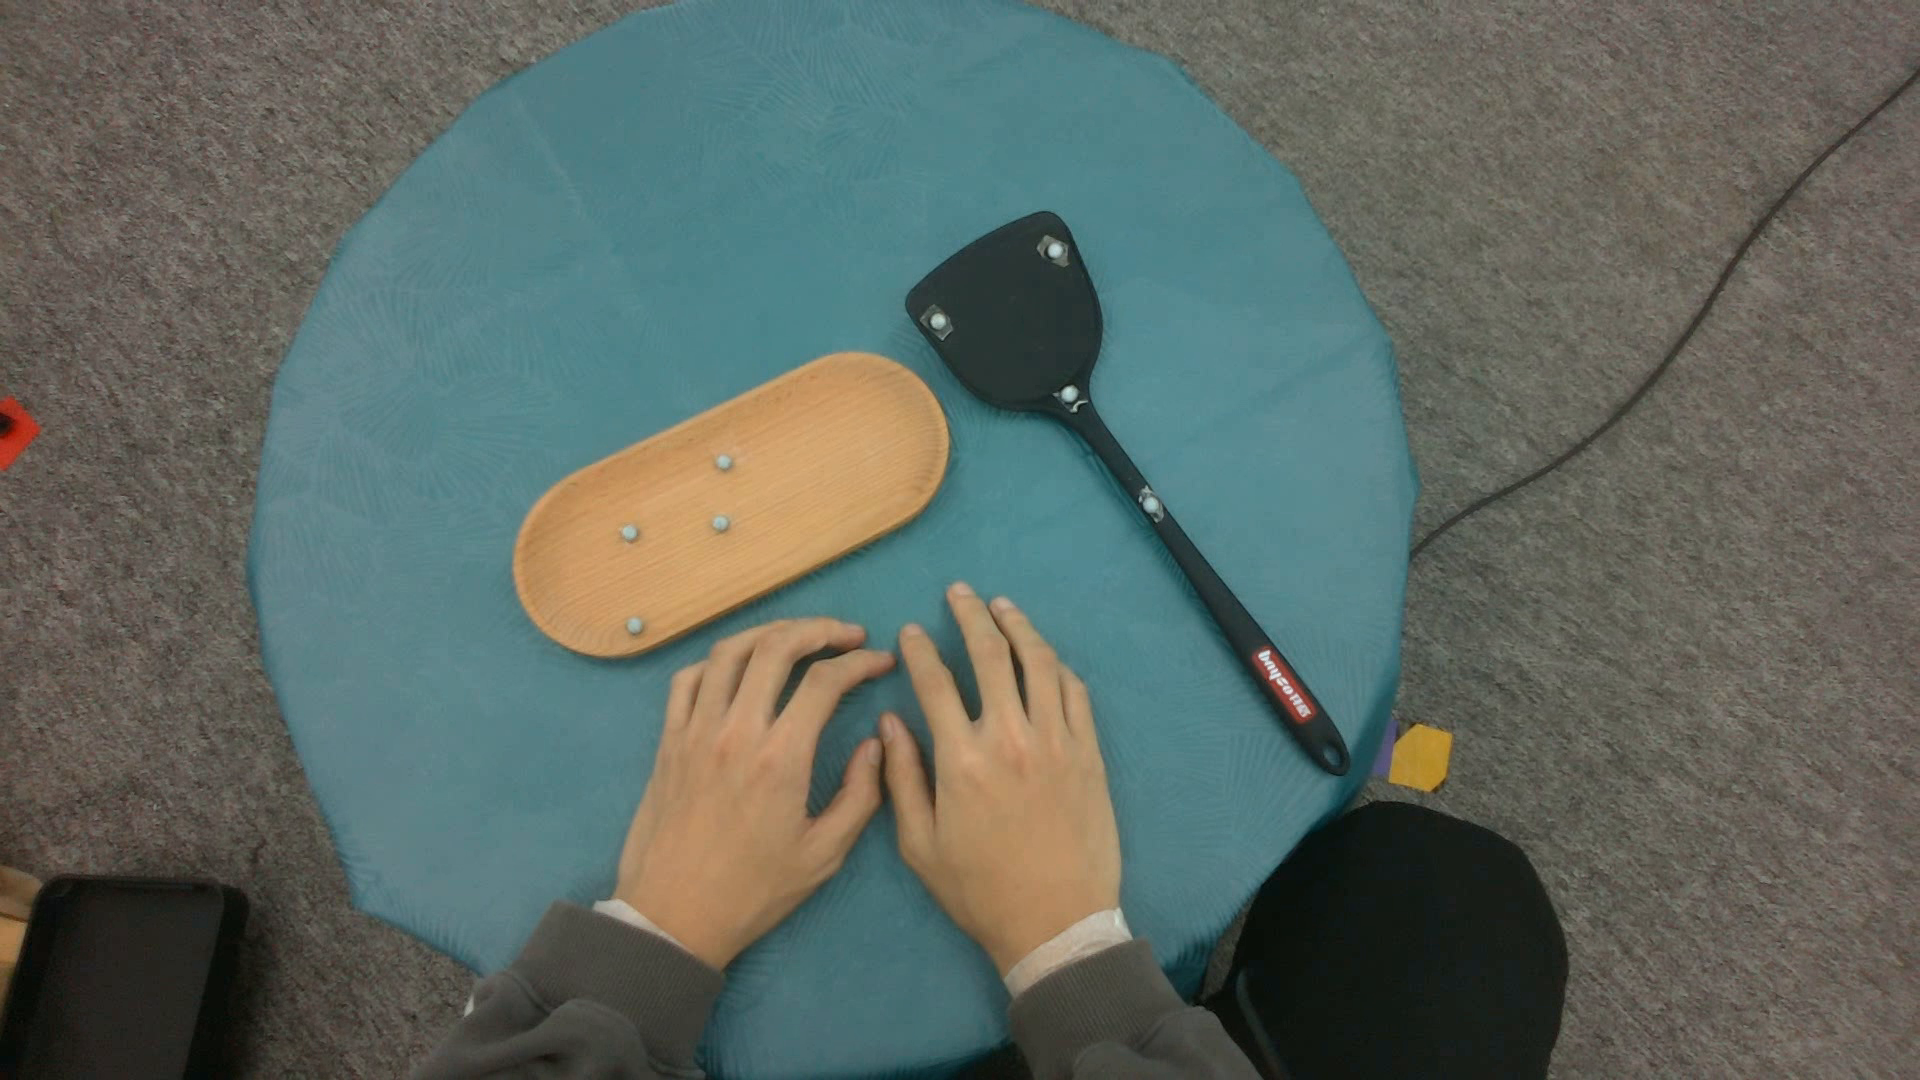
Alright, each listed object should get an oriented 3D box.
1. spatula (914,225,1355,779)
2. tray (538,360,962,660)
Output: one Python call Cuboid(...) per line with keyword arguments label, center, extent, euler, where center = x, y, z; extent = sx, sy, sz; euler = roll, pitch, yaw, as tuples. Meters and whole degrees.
Cuboid(label="spatula", center=(0.101, -0.016, 0.706), extent=(0.100, 0.040, 0.326), euler=(-33, 75, -8))
Cuboid(label="tray", center=(-0.107, -0.017, 0.718), extent=(0.231, 0.020, 0.102), euler=(-26, 75, -9))
